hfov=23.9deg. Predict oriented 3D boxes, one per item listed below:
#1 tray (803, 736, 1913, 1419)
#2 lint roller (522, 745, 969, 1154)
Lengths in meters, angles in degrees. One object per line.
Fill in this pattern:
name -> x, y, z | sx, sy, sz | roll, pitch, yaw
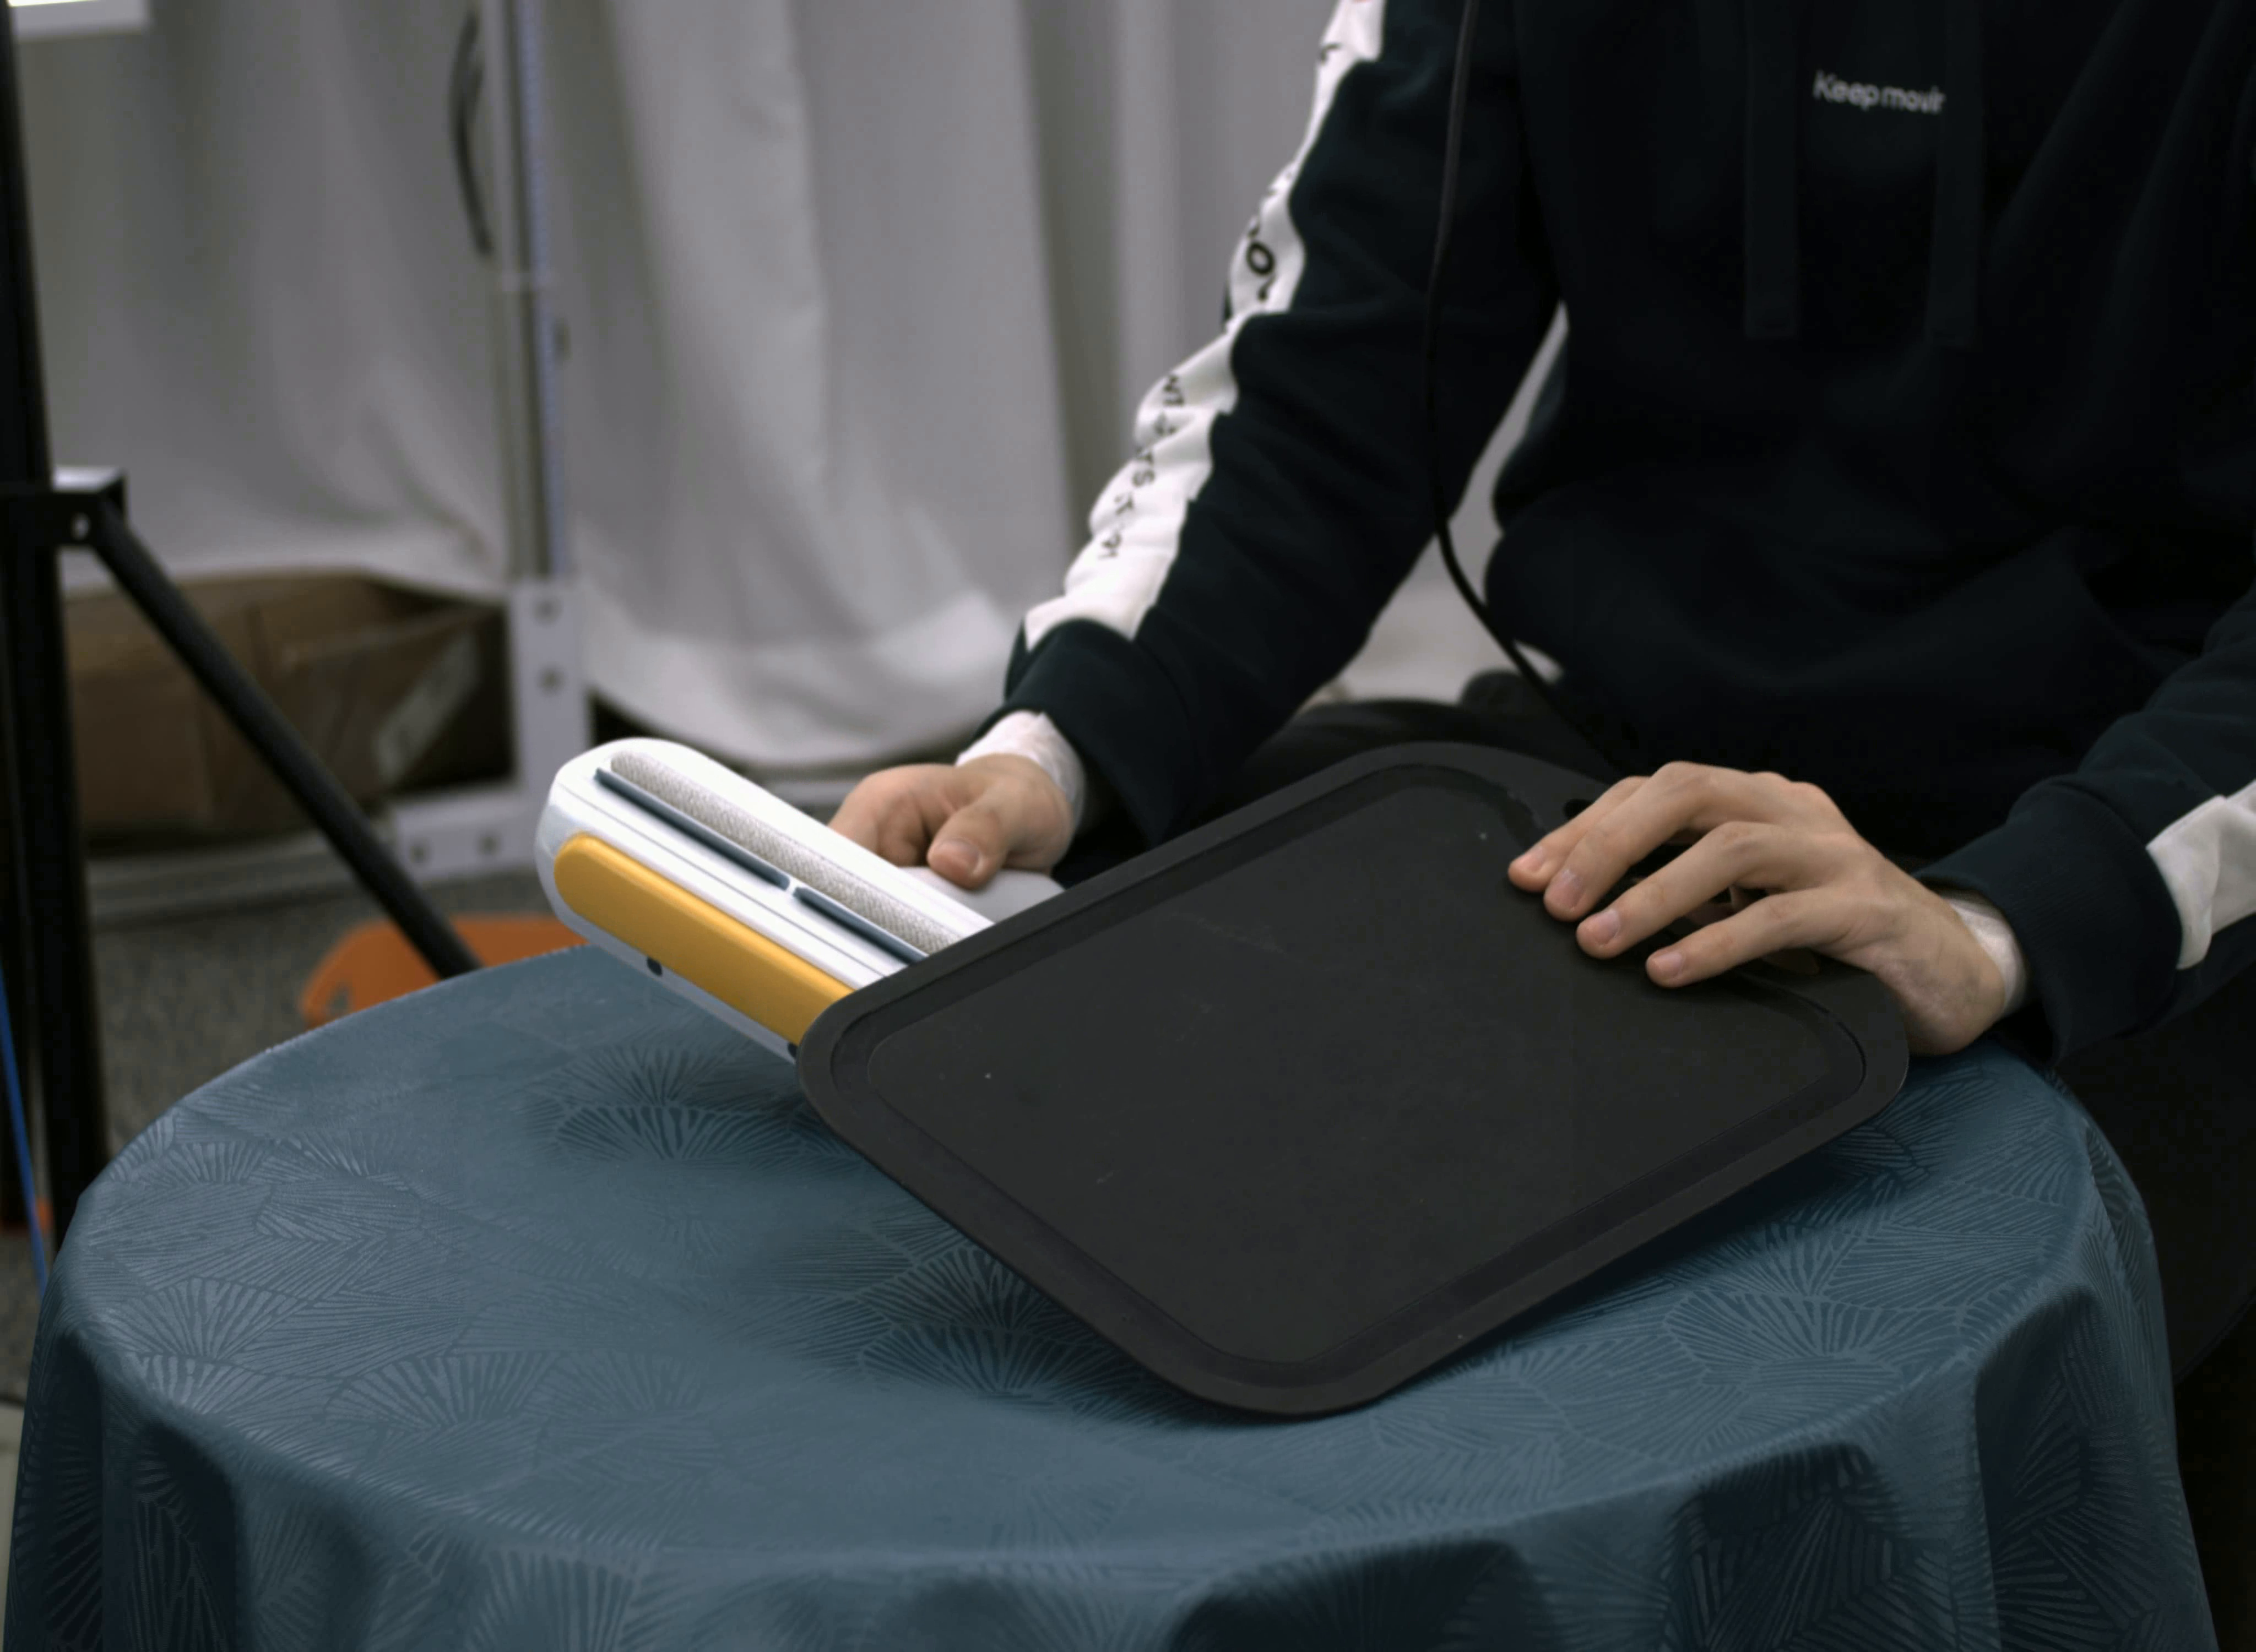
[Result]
tray -> 0.075, 0.060, 1.520 | 0.319, 0.010, 0.215 | -24, 47, -38
lint roller -> -0.079, 0.045, 1.700 | 0.197, 0.074, 0.187 | 30, 14, 33
